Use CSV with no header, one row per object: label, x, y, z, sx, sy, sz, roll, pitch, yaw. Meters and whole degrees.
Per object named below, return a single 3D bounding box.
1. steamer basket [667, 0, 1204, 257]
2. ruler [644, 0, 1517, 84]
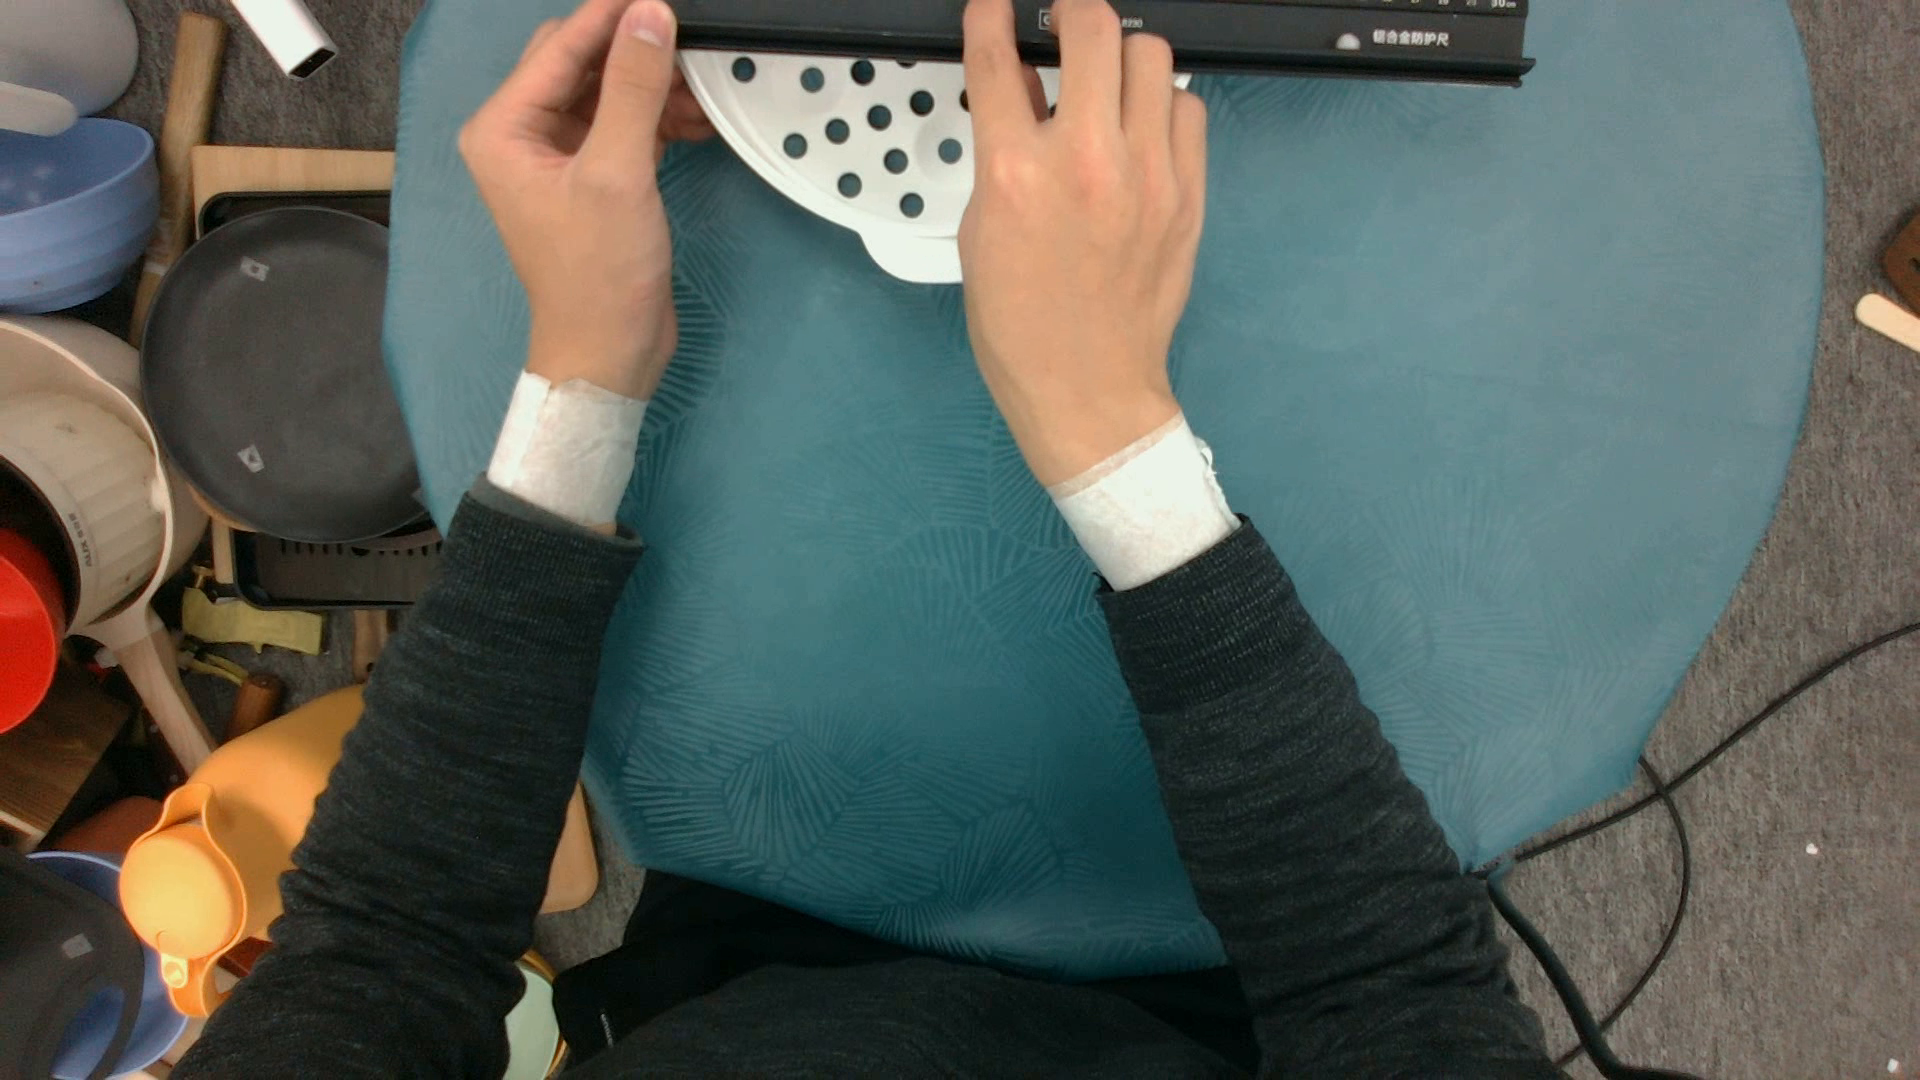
steamer basket,-0.010,-0.223,0.524,0.202,0.069,0.230,-4,97,-1
ruler,0.045,-0.192,0.490,0.312,0.017,0.039,3,95,-2
